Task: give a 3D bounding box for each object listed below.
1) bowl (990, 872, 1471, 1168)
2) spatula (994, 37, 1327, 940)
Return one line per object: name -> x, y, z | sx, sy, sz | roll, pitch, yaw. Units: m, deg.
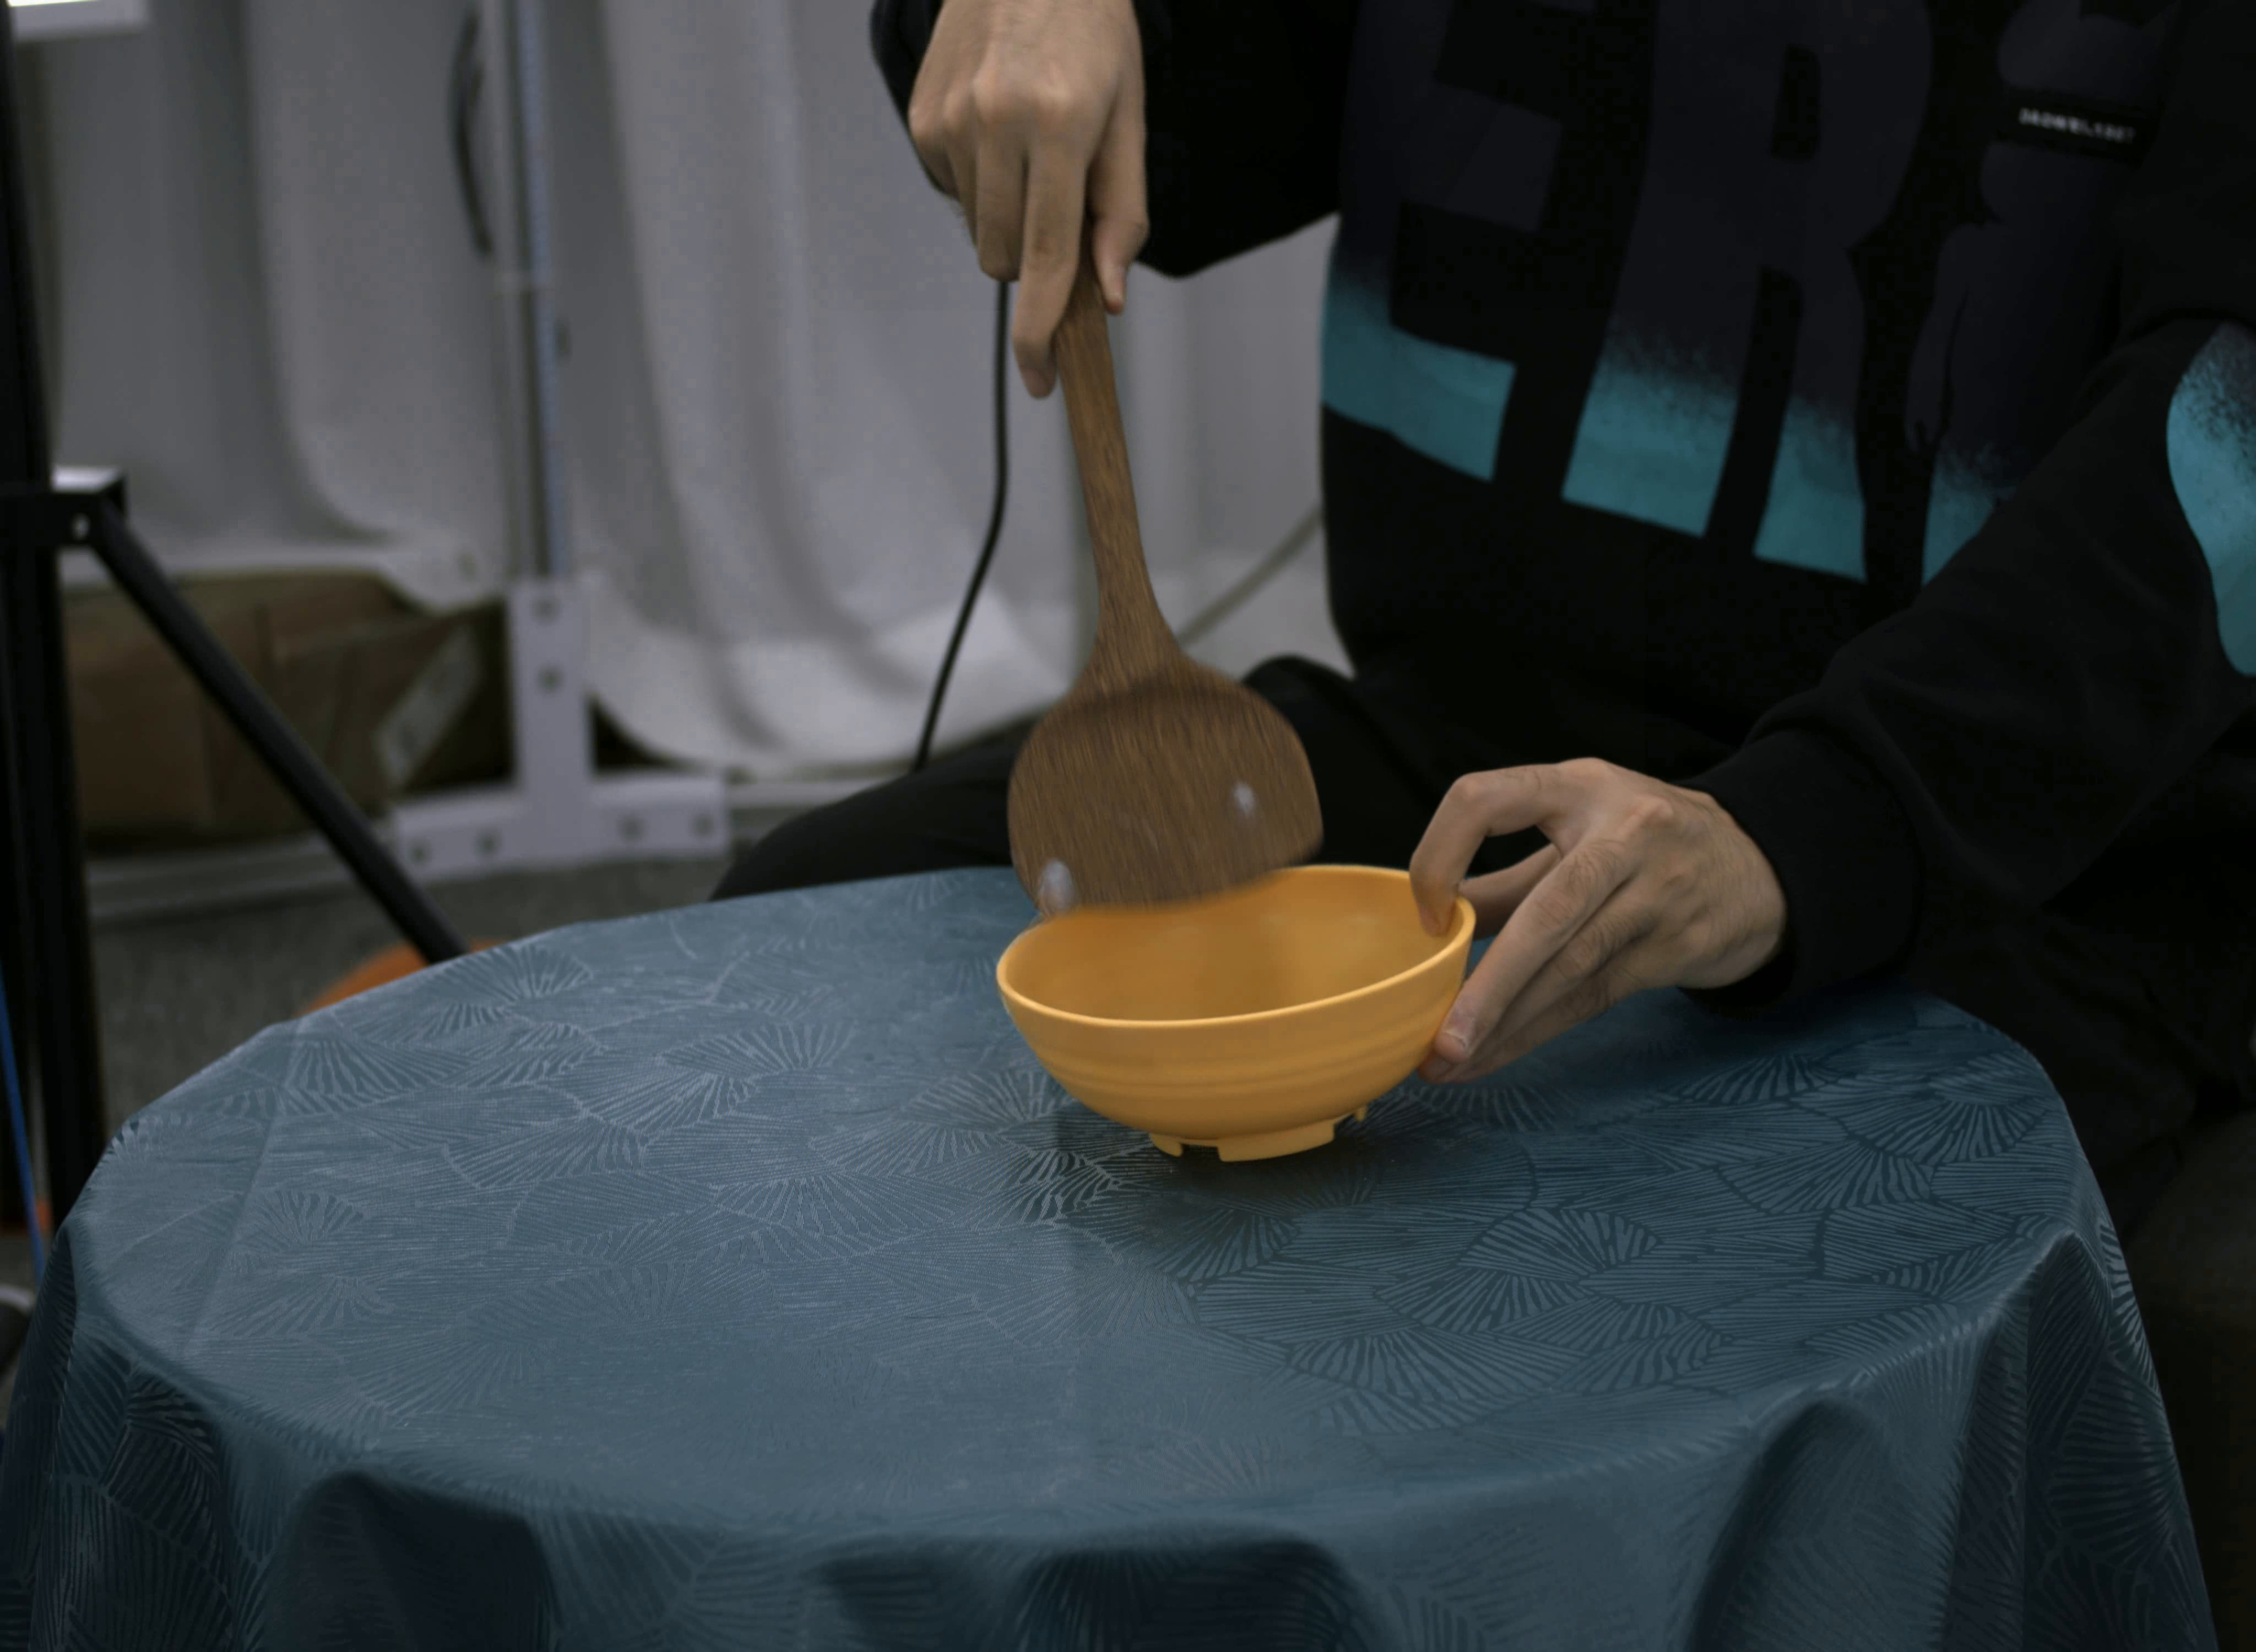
bowl -> 0.033, 0.064, 1.596 | 0.144, 0.060, 0.146 | -5, 17, 0
spatula -> -0.008, -0.118, 1.701 | 0.095, 0.015, 0.391 | -9, 52, 0
